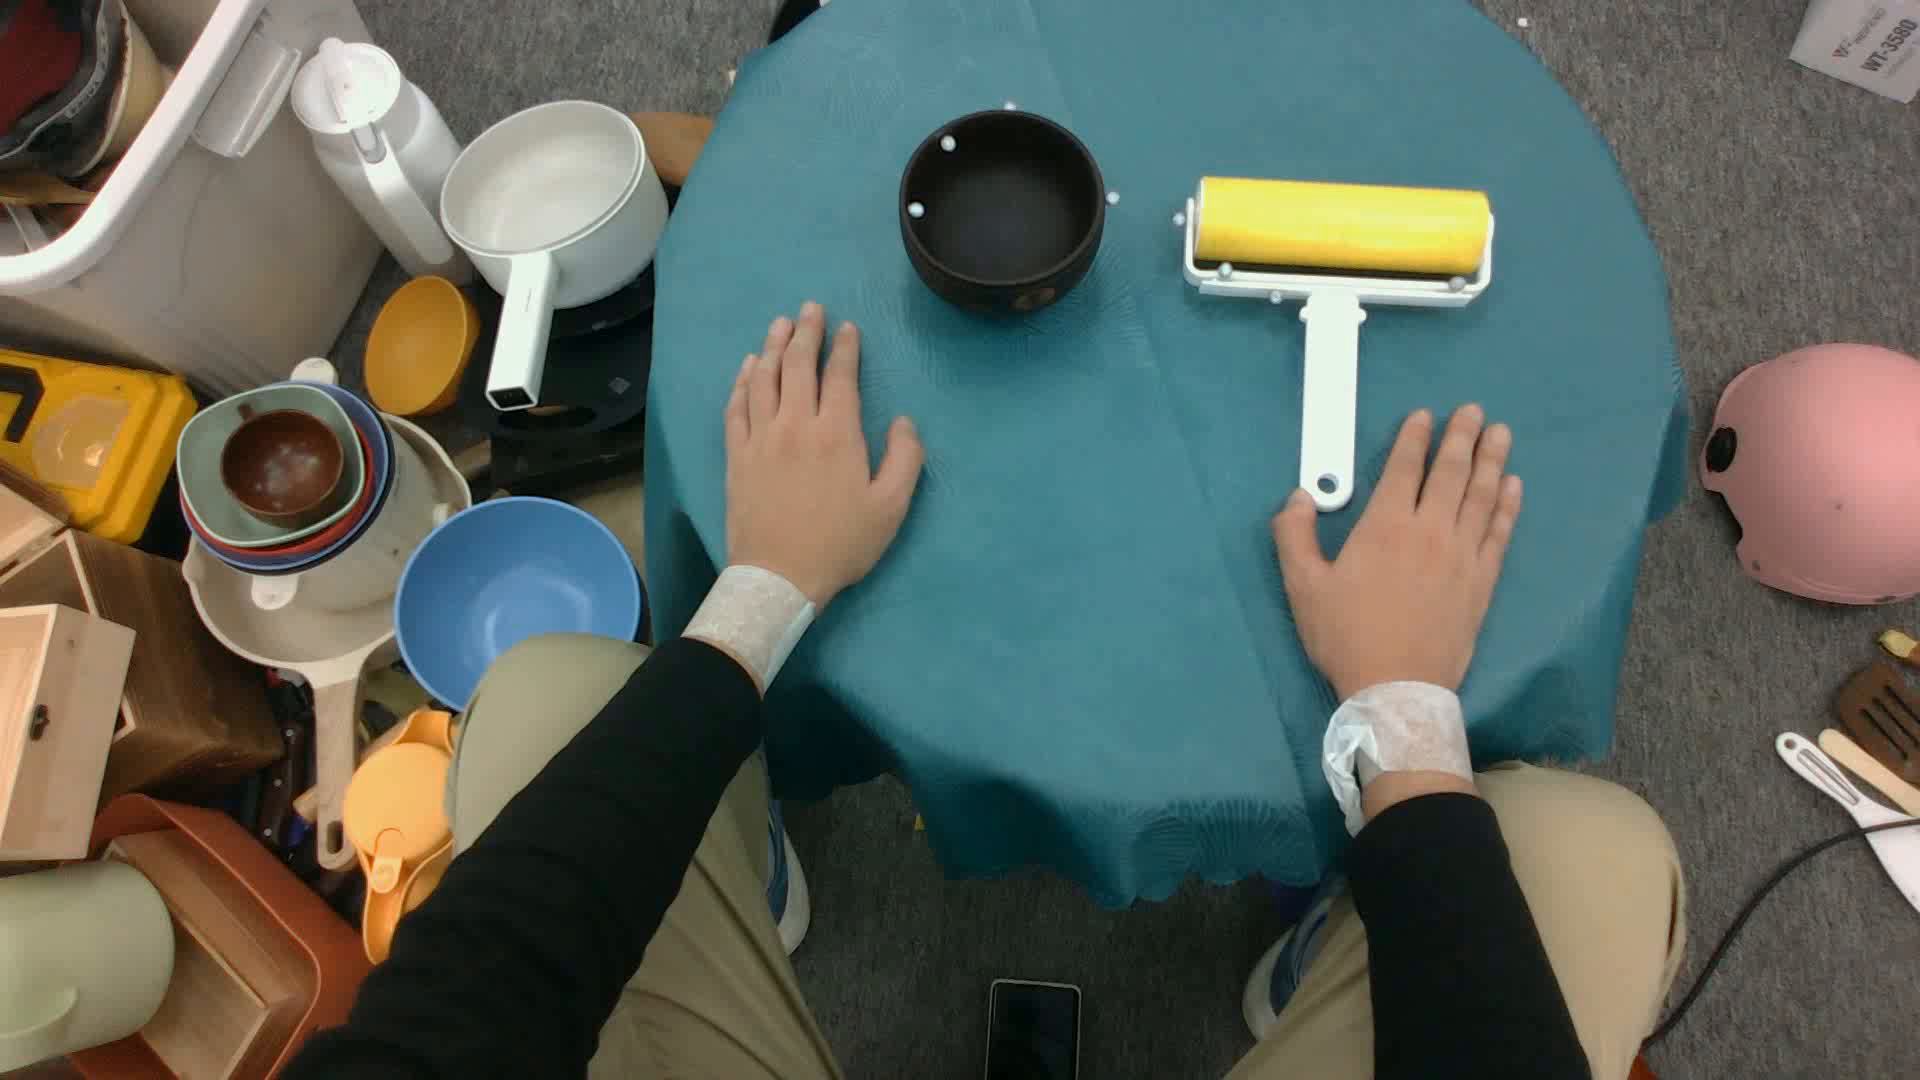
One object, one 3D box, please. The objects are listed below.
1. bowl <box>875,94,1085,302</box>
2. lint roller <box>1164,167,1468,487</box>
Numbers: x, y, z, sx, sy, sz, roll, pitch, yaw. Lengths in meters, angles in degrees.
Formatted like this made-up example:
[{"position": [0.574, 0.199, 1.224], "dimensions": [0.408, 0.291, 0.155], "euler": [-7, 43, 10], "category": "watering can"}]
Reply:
[{"position": [0.012, -0.189, 0.794], "dimensions": [0.118, 0.069, 0.118], "euler": [0, 70, 1], "category": "bowl"}, {"position": [0.204, -0.126, 0.782], "dimensions": [0.174, 0.051, 0.192], "euler": [2, 66, 2], "category": "lint roller"}]
